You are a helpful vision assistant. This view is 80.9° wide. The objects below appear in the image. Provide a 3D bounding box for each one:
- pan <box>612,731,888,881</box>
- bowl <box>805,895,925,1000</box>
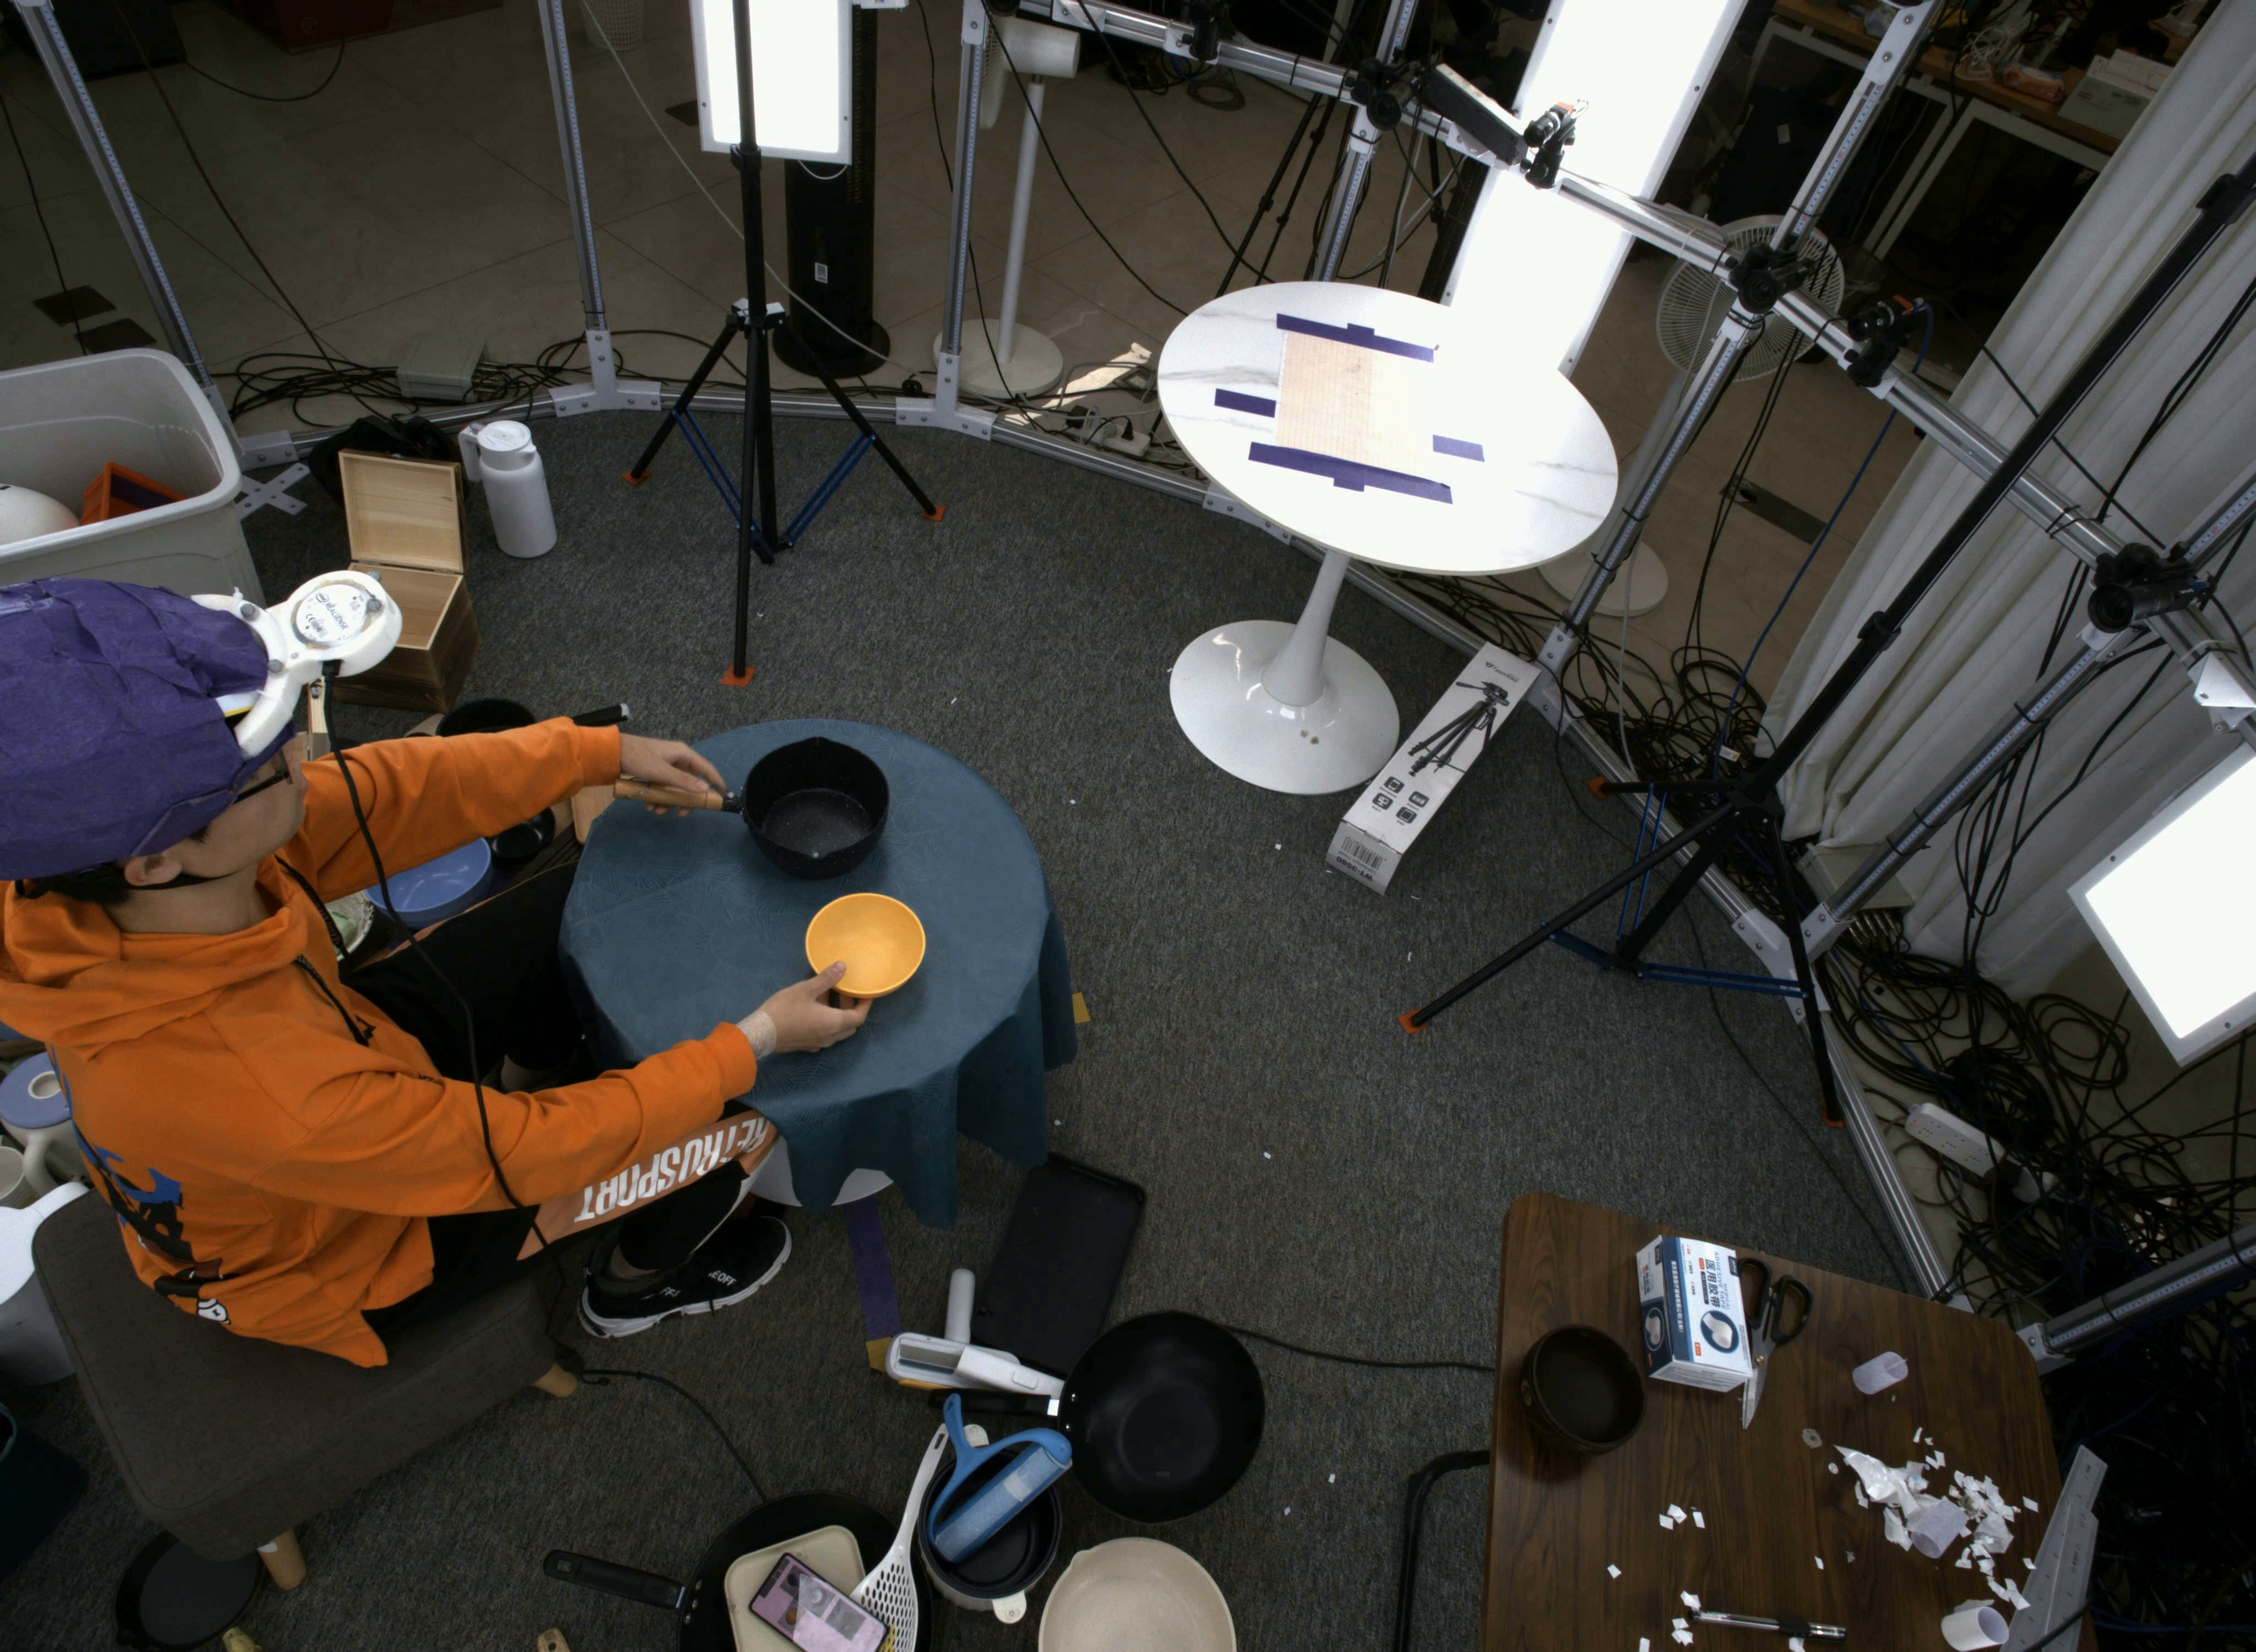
[{"bbox_3d":[-0.479,-0.022,1.646,0.344,0.110,0.203,0,55,-17],"label":"pan"},{"bbox_3d":[-0.320,0.157,1.586,0.145,0.061,0.142,8,51,-8],"label":"bowl"}]
